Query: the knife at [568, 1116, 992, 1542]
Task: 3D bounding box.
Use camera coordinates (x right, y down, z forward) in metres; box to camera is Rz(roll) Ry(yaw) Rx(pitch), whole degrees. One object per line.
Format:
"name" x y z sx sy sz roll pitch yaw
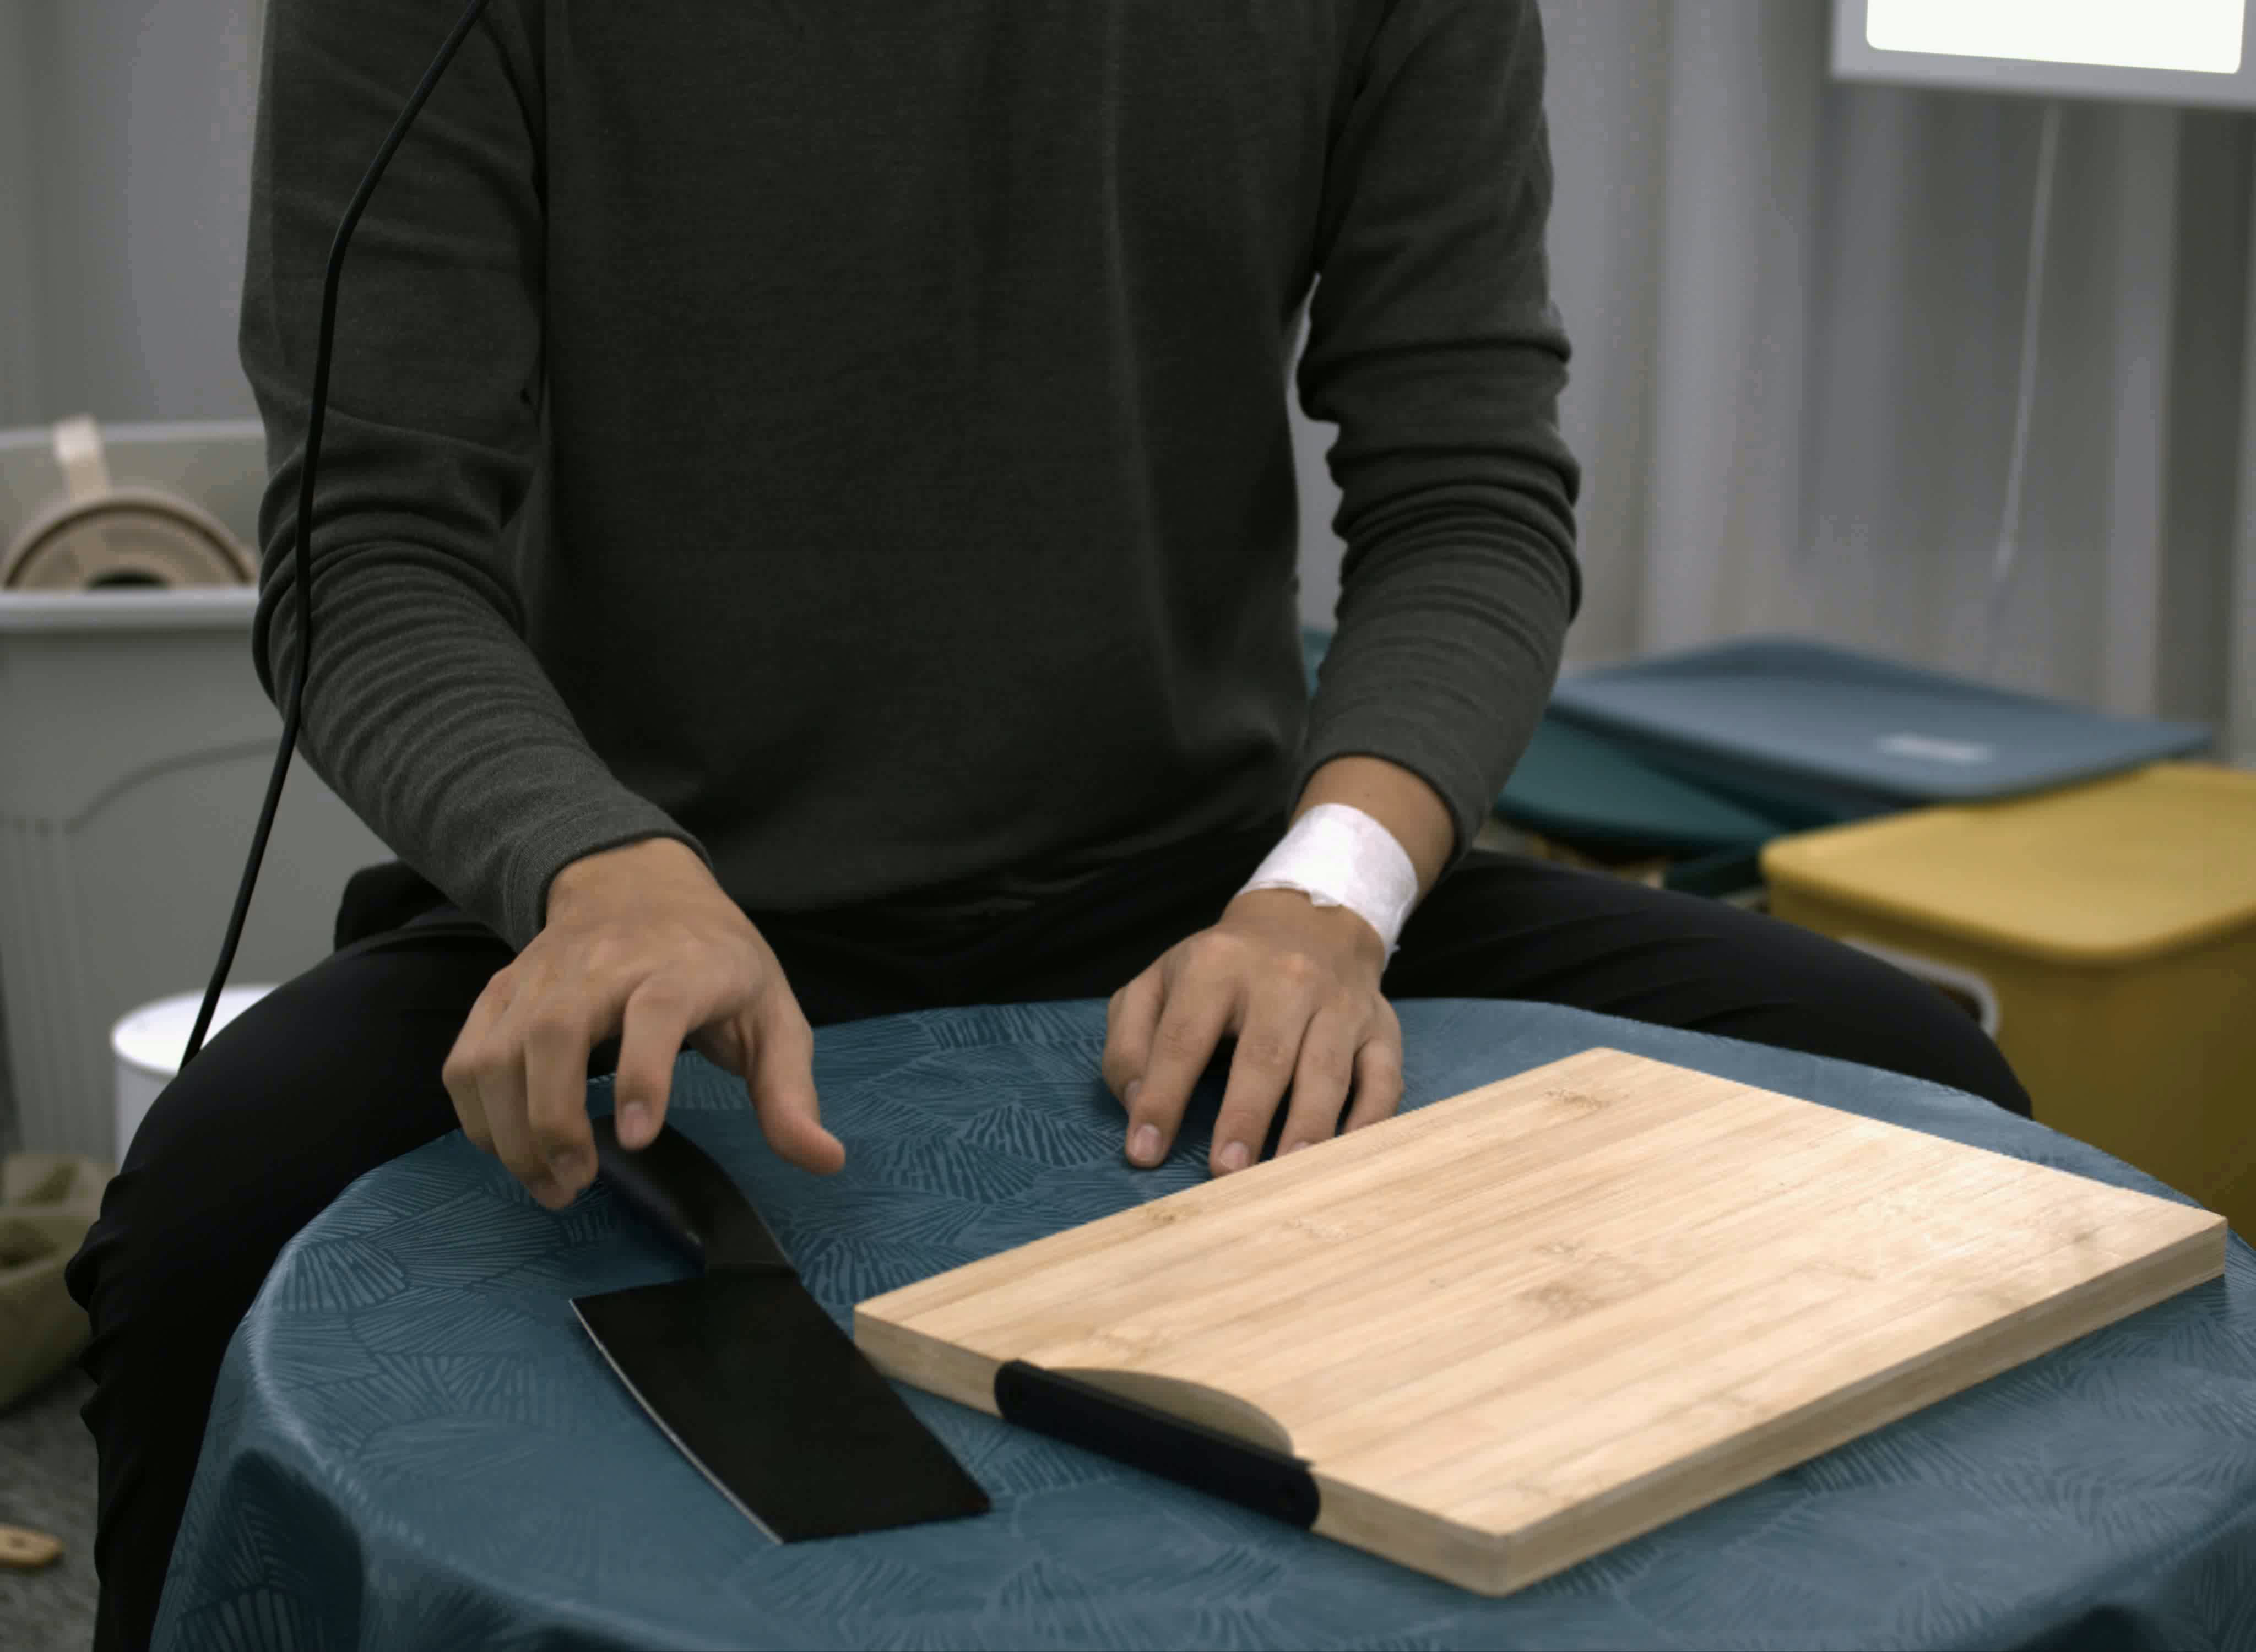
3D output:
"knife" -0.115 0.140 1.495 0.081 0.021 0.299 -5 18 -17

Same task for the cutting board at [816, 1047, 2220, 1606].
"cutting board" 0.119 0.135 1.517 0.247 0.024 0.350 13 20 41
